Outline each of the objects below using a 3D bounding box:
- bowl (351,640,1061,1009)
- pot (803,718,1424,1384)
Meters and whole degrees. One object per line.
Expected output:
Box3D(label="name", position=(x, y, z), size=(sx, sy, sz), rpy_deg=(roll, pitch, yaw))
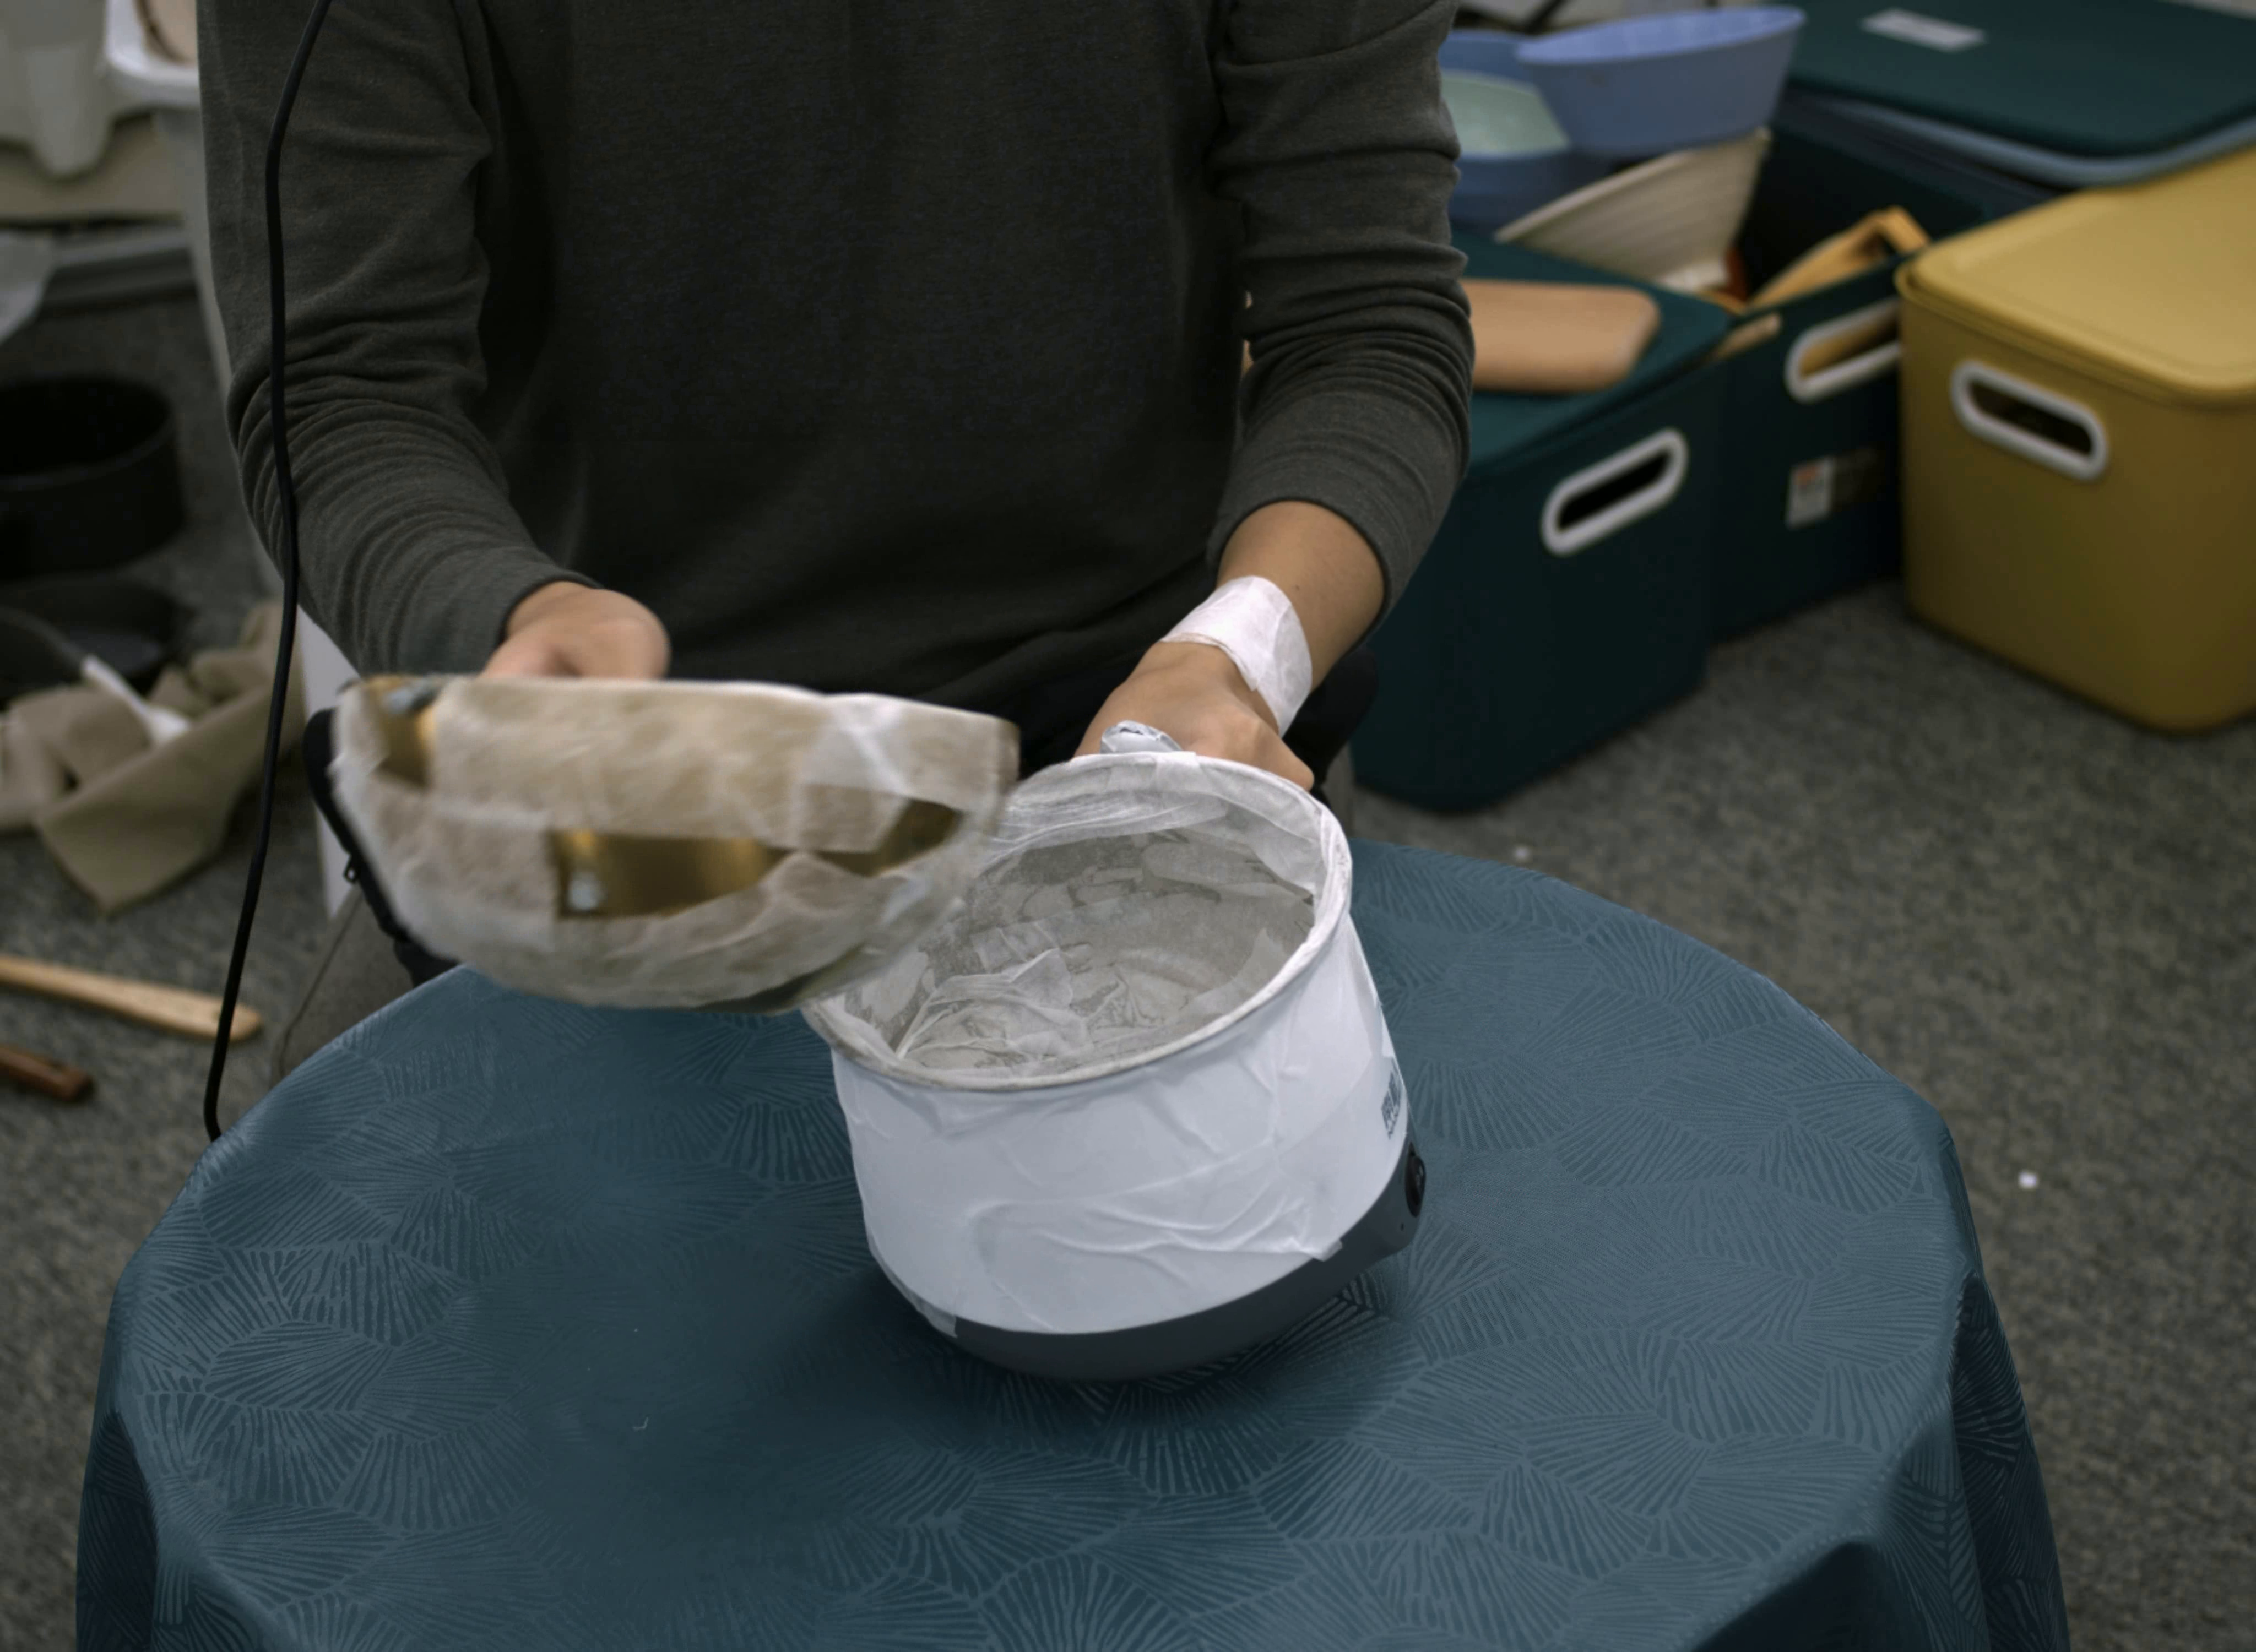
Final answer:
Box3D(label="bowl", position=(-0.129, 0.005, 1.654), size=(0.214, 0.095, 0.214), rpy_deg=(4, -5, 1))
Box3D(label="pot", position=(0.000, 0.063, 1.795), size=(0.177, 0.135, 0.238), rpy_deg=(-6, 32, 14))
